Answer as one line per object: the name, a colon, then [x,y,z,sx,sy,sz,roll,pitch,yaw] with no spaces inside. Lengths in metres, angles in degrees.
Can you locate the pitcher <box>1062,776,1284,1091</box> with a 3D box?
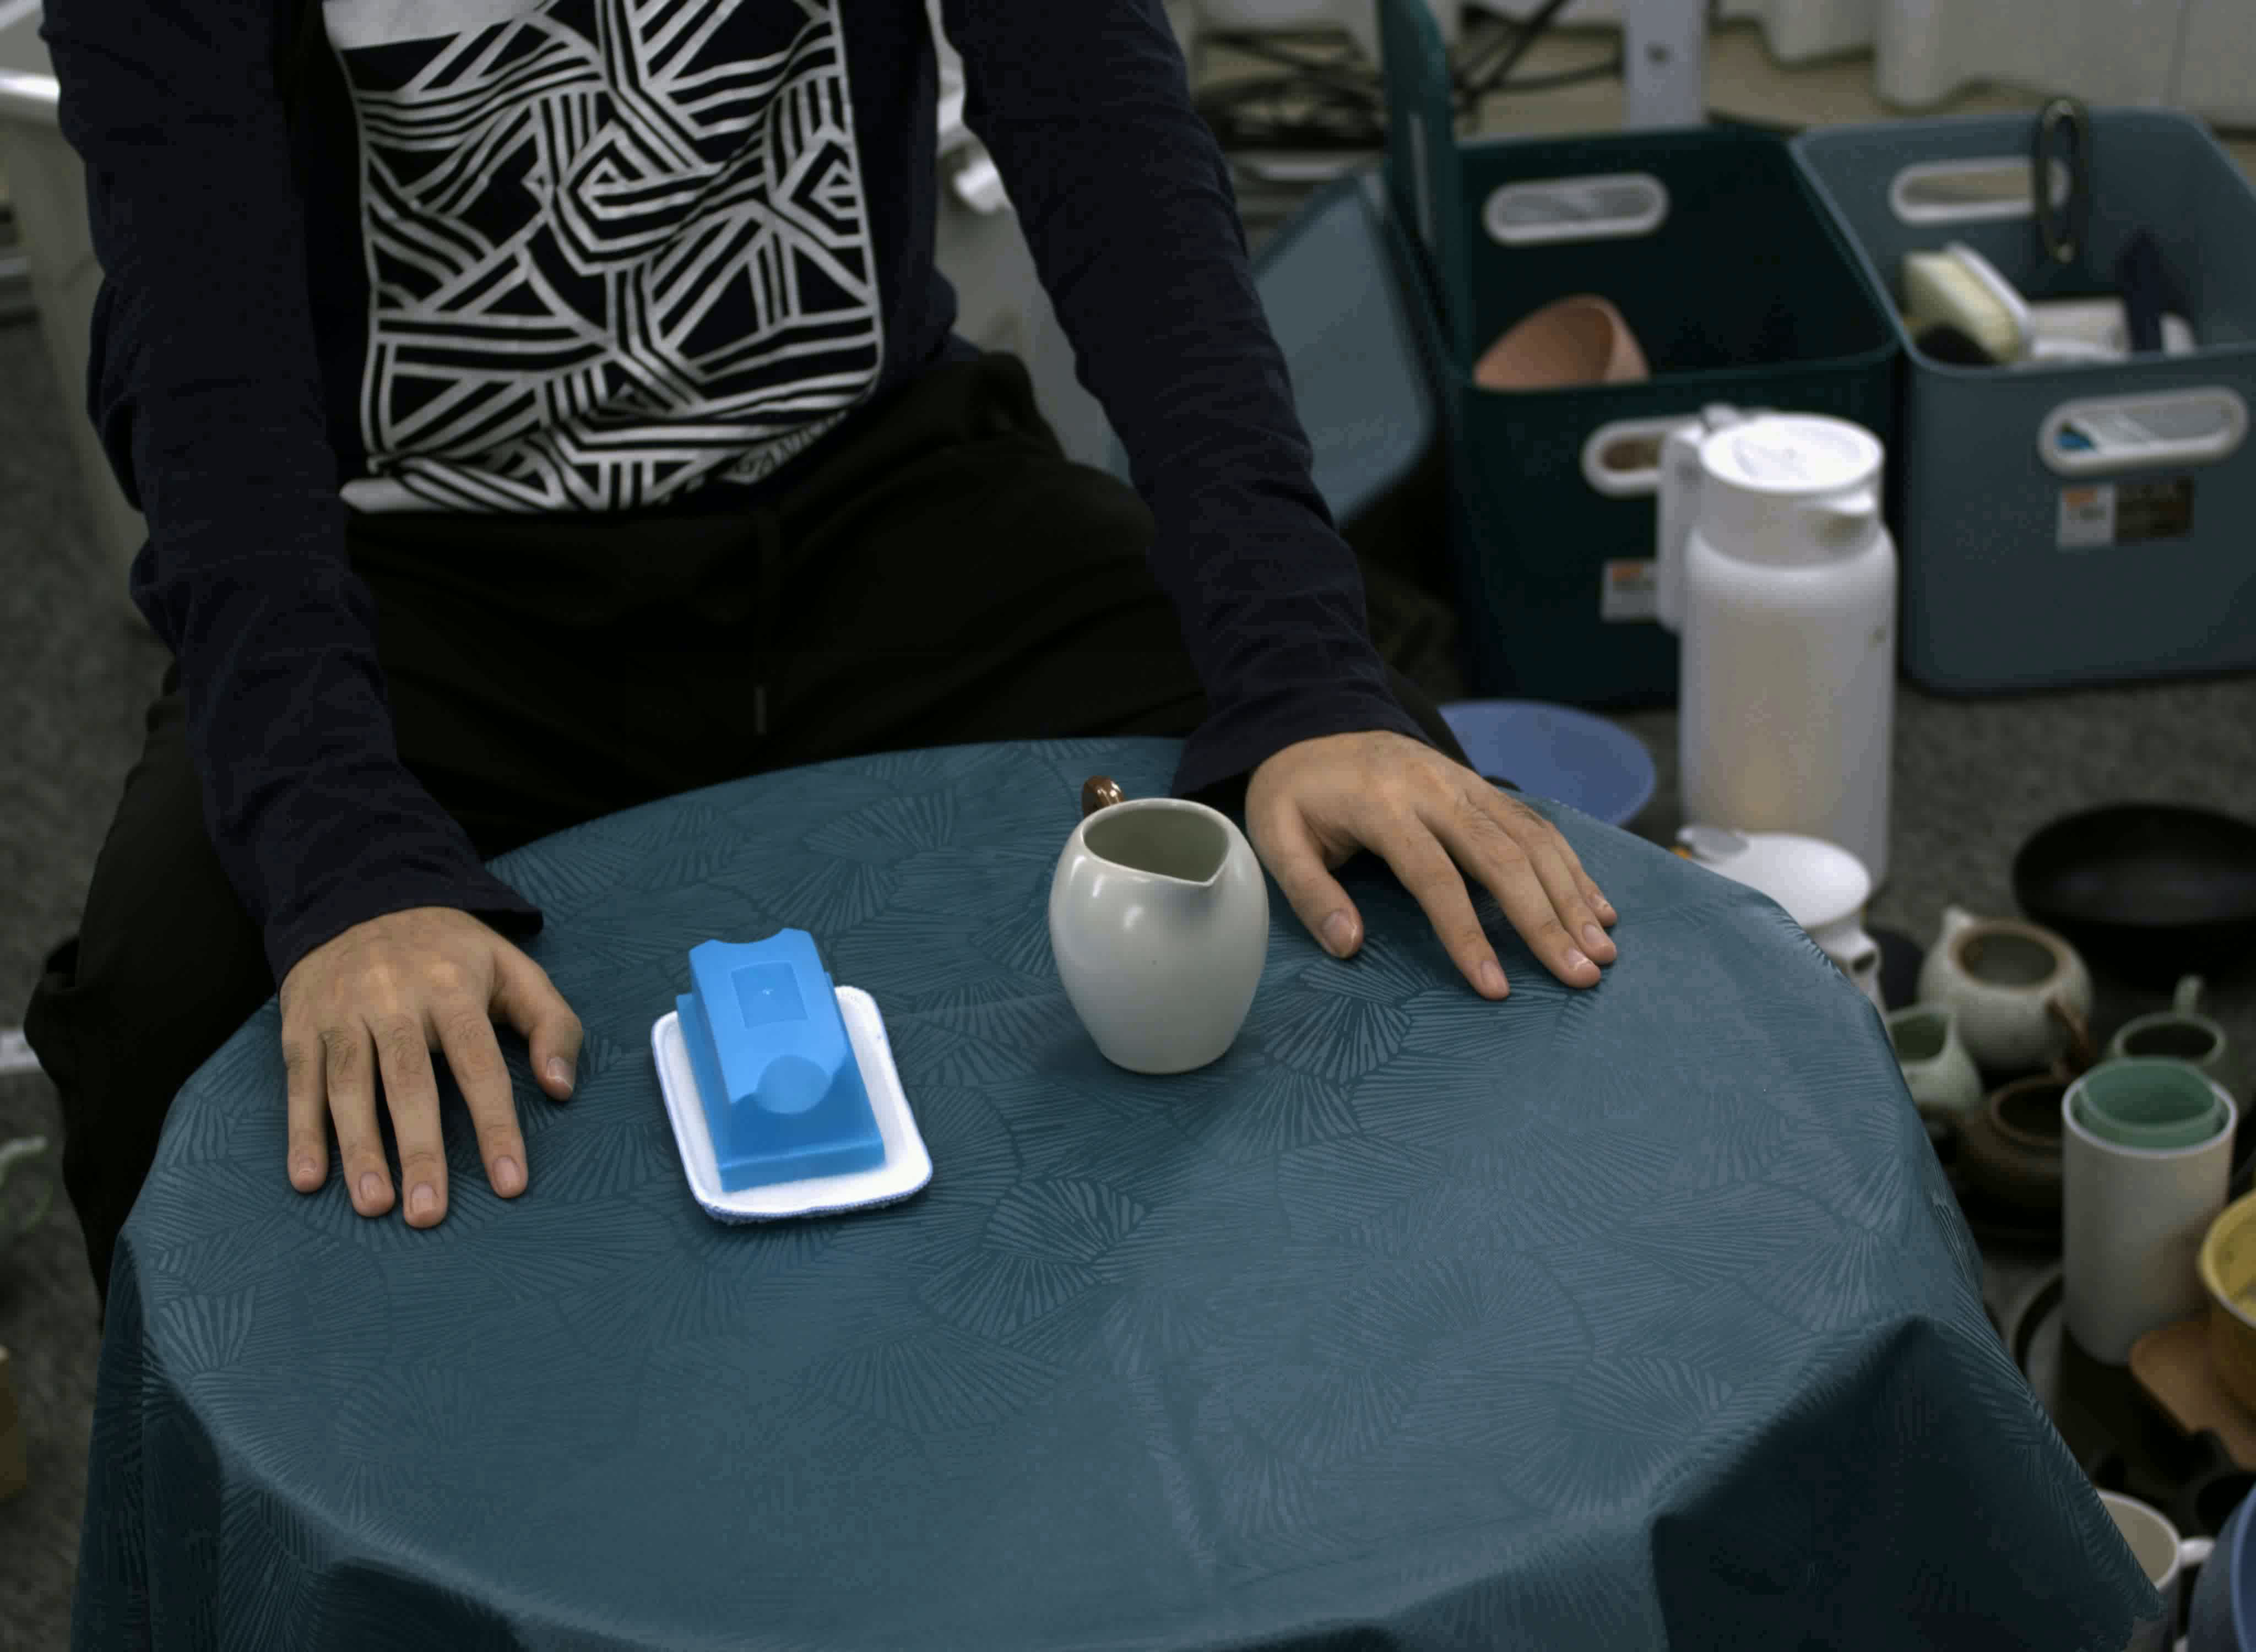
pitcher: [0.013,0.038,1.926,0.076,0.087,0.120,-5,30,-15]

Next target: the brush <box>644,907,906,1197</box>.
brush: [-0.119,0.072,1.902,0.083,0.055,0.146,-4,29,-8]
